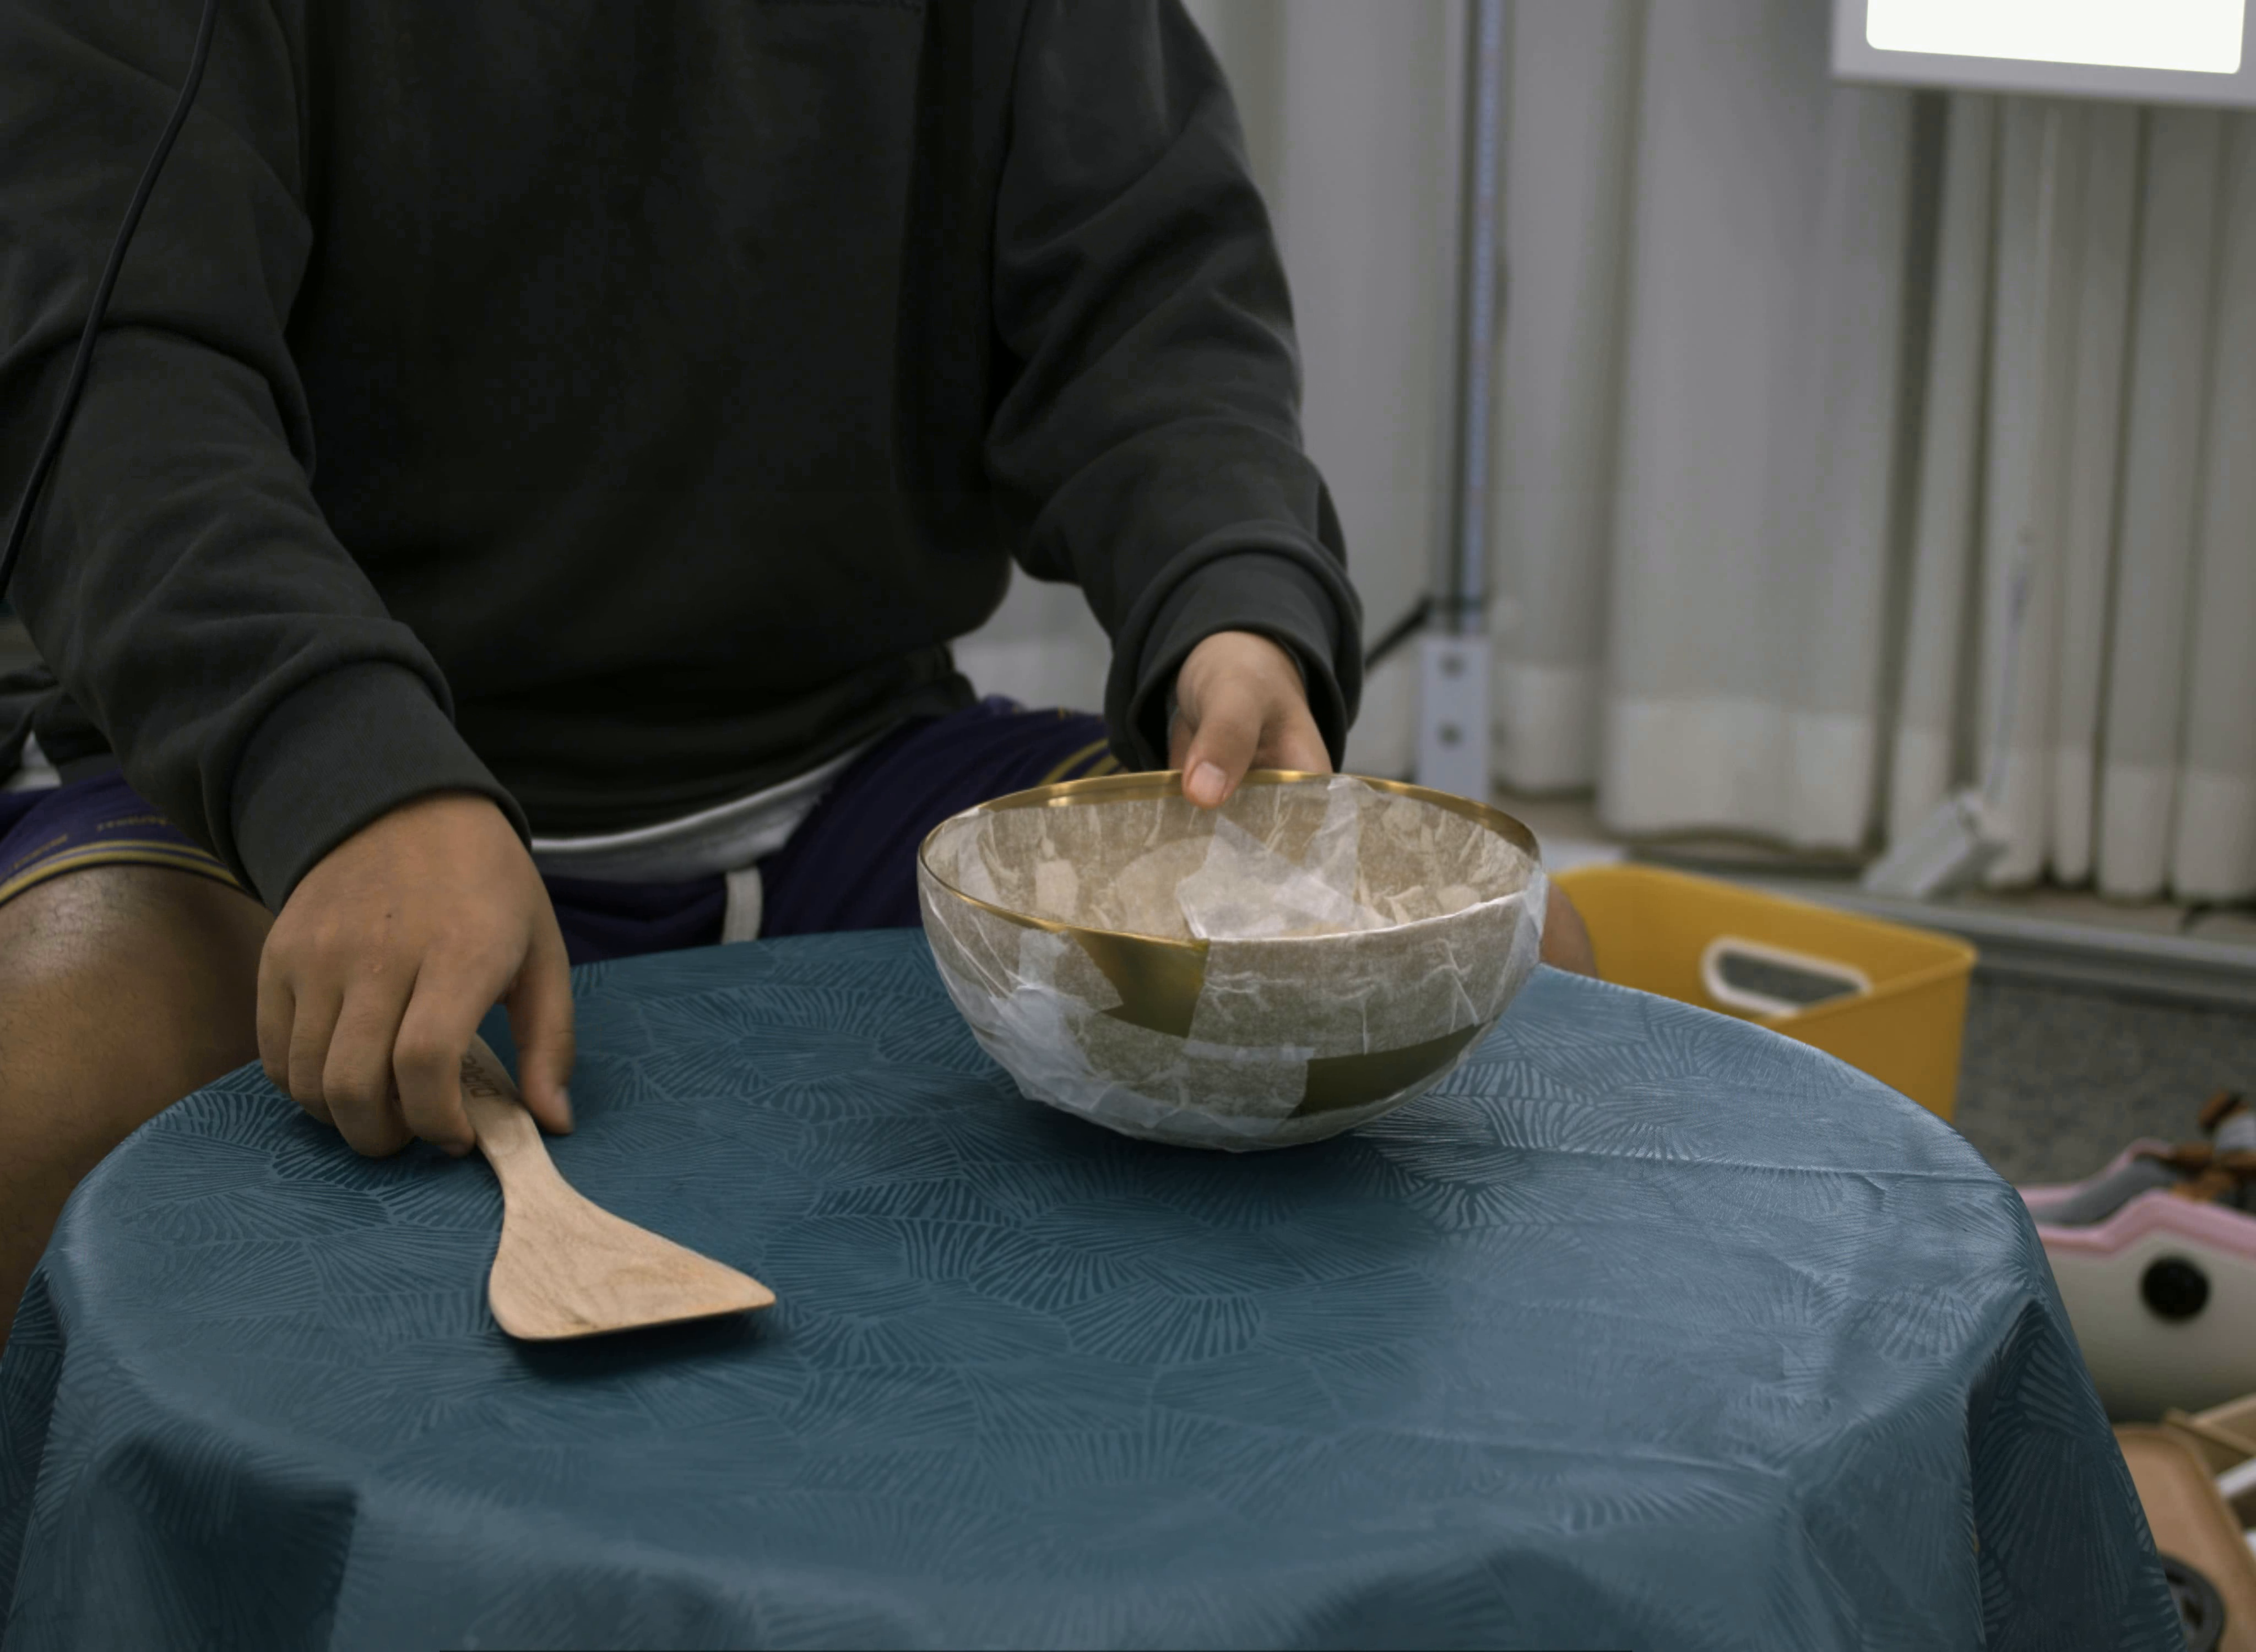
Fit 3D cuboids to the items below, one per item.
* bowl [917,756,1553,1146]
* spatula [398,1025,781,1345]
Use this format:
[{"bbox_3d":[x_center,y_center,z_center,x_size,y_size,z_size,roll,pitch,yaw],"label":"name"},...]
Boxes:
[{"bbox_3d":[0.032,0.046,1.680,0.214,0.095,0.213,1,17,0],"label":"bowl"},{"bbox_3d":[-0.181,0.105,1.612,0.080,0.016,0.324,-5,16,-18],"label":"spatula"}]
